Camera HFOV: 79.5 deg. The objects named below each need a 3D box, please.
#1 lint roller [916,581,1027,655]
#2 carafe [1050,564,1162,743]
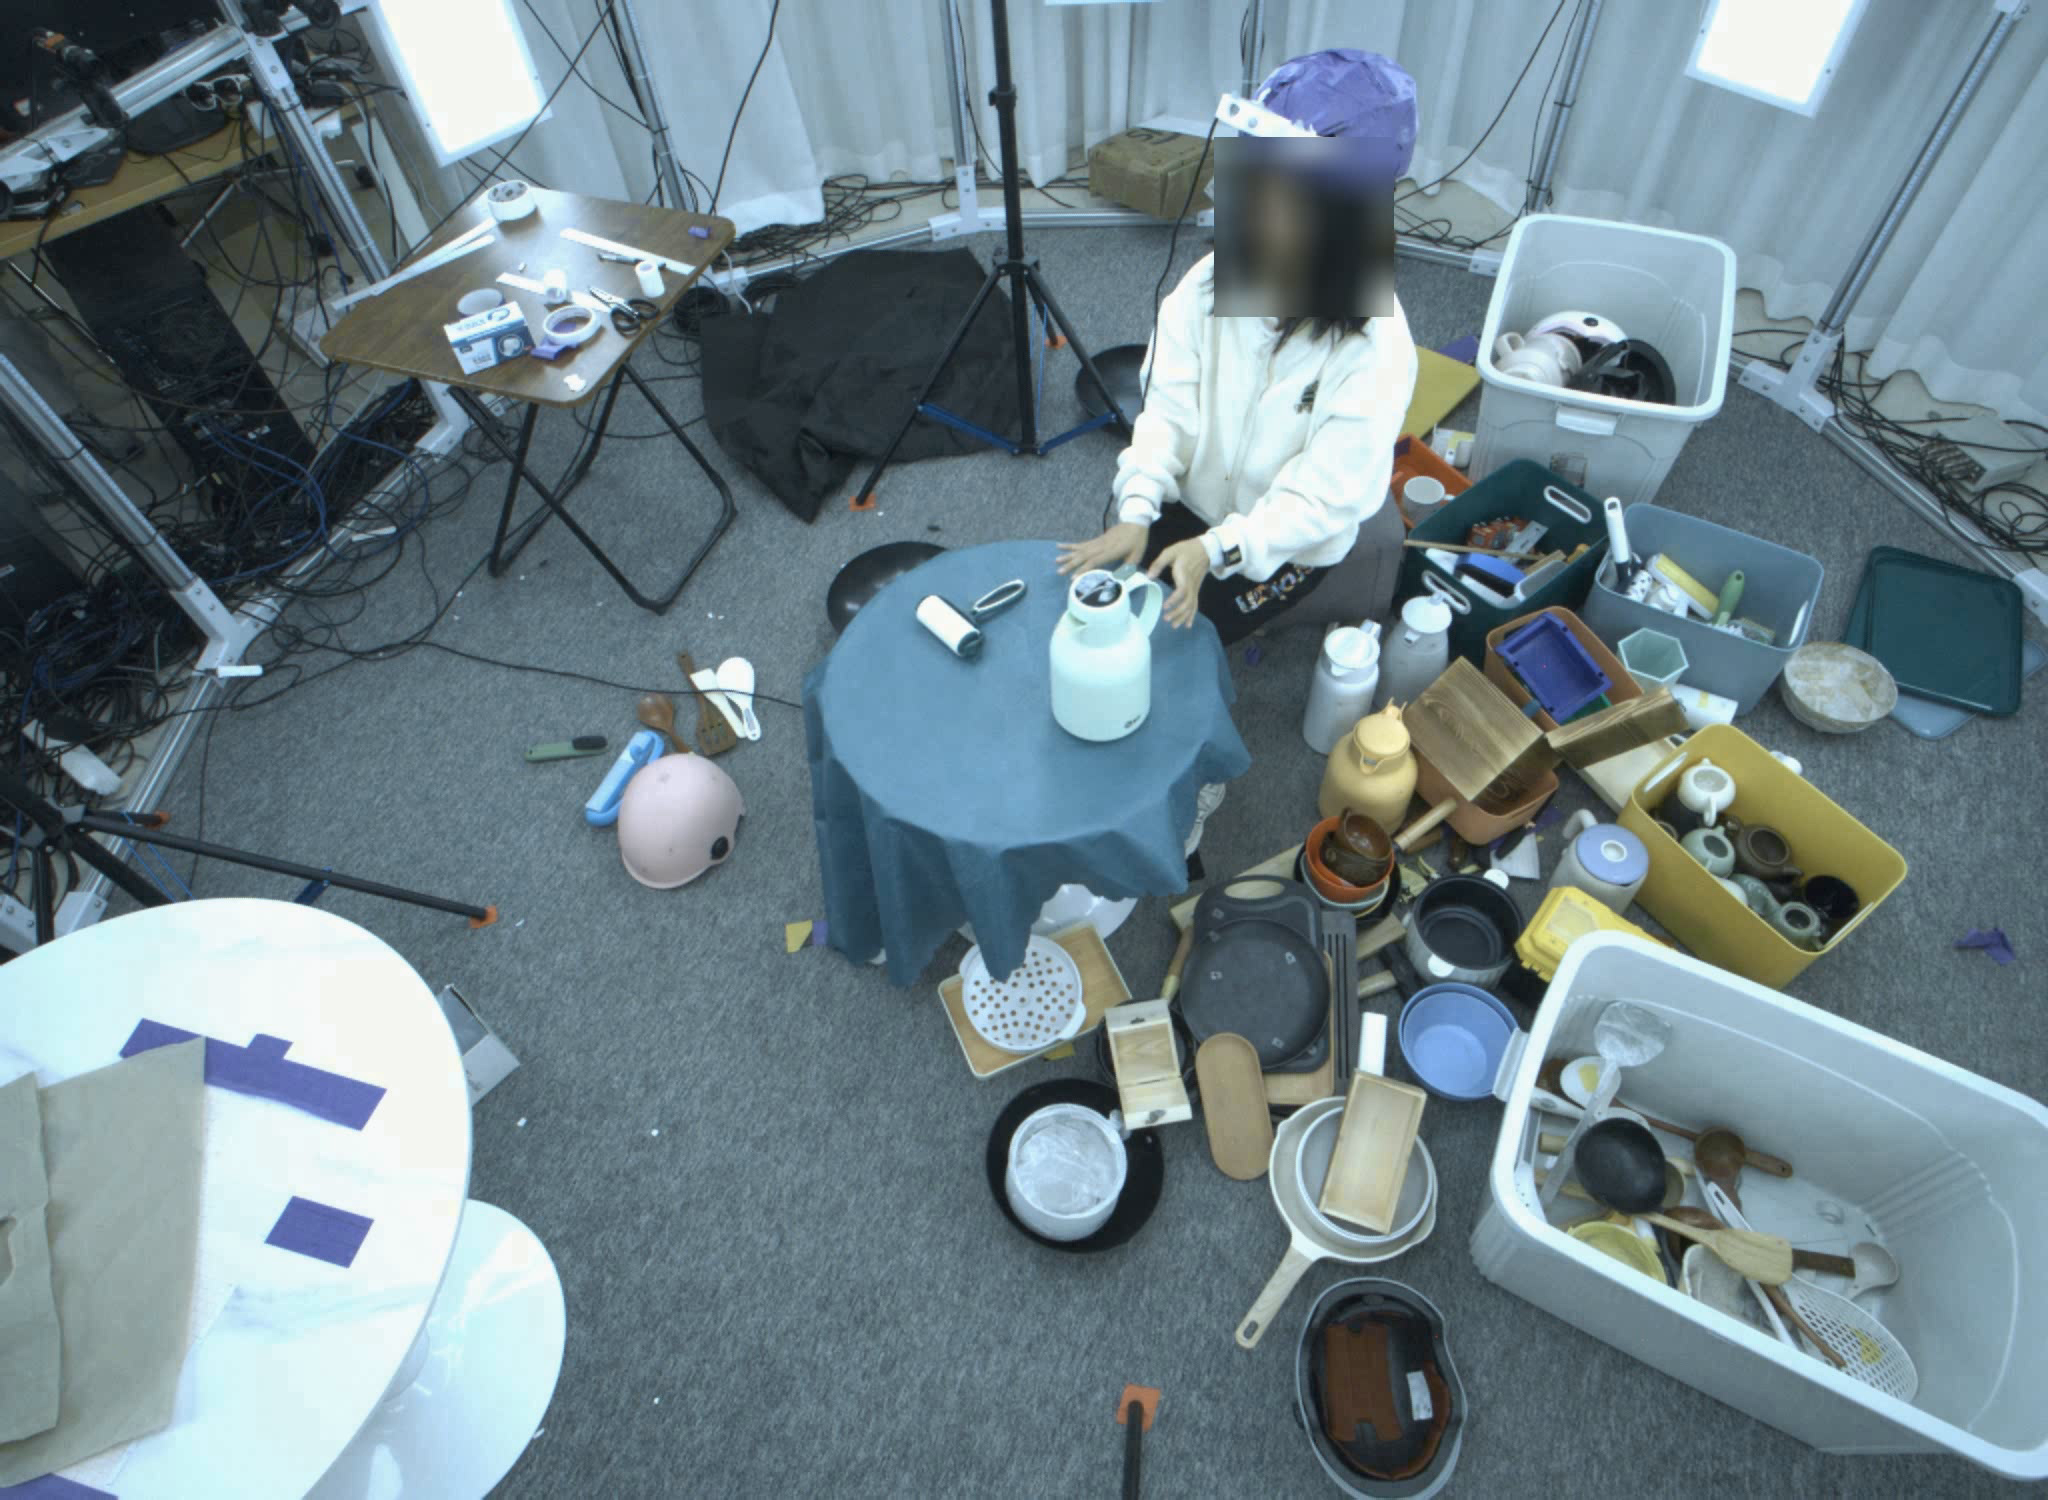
[{"bbox_3d":[-0.067,-0.230,1.923,0.181,0.049,0.132,-36,62,-21],"label":"lint roller"},{"bbox_3d":[0.118,-0.143,1.732,0.188,0.259,0.141,-36,58,-24],"label":"carafe"}]
